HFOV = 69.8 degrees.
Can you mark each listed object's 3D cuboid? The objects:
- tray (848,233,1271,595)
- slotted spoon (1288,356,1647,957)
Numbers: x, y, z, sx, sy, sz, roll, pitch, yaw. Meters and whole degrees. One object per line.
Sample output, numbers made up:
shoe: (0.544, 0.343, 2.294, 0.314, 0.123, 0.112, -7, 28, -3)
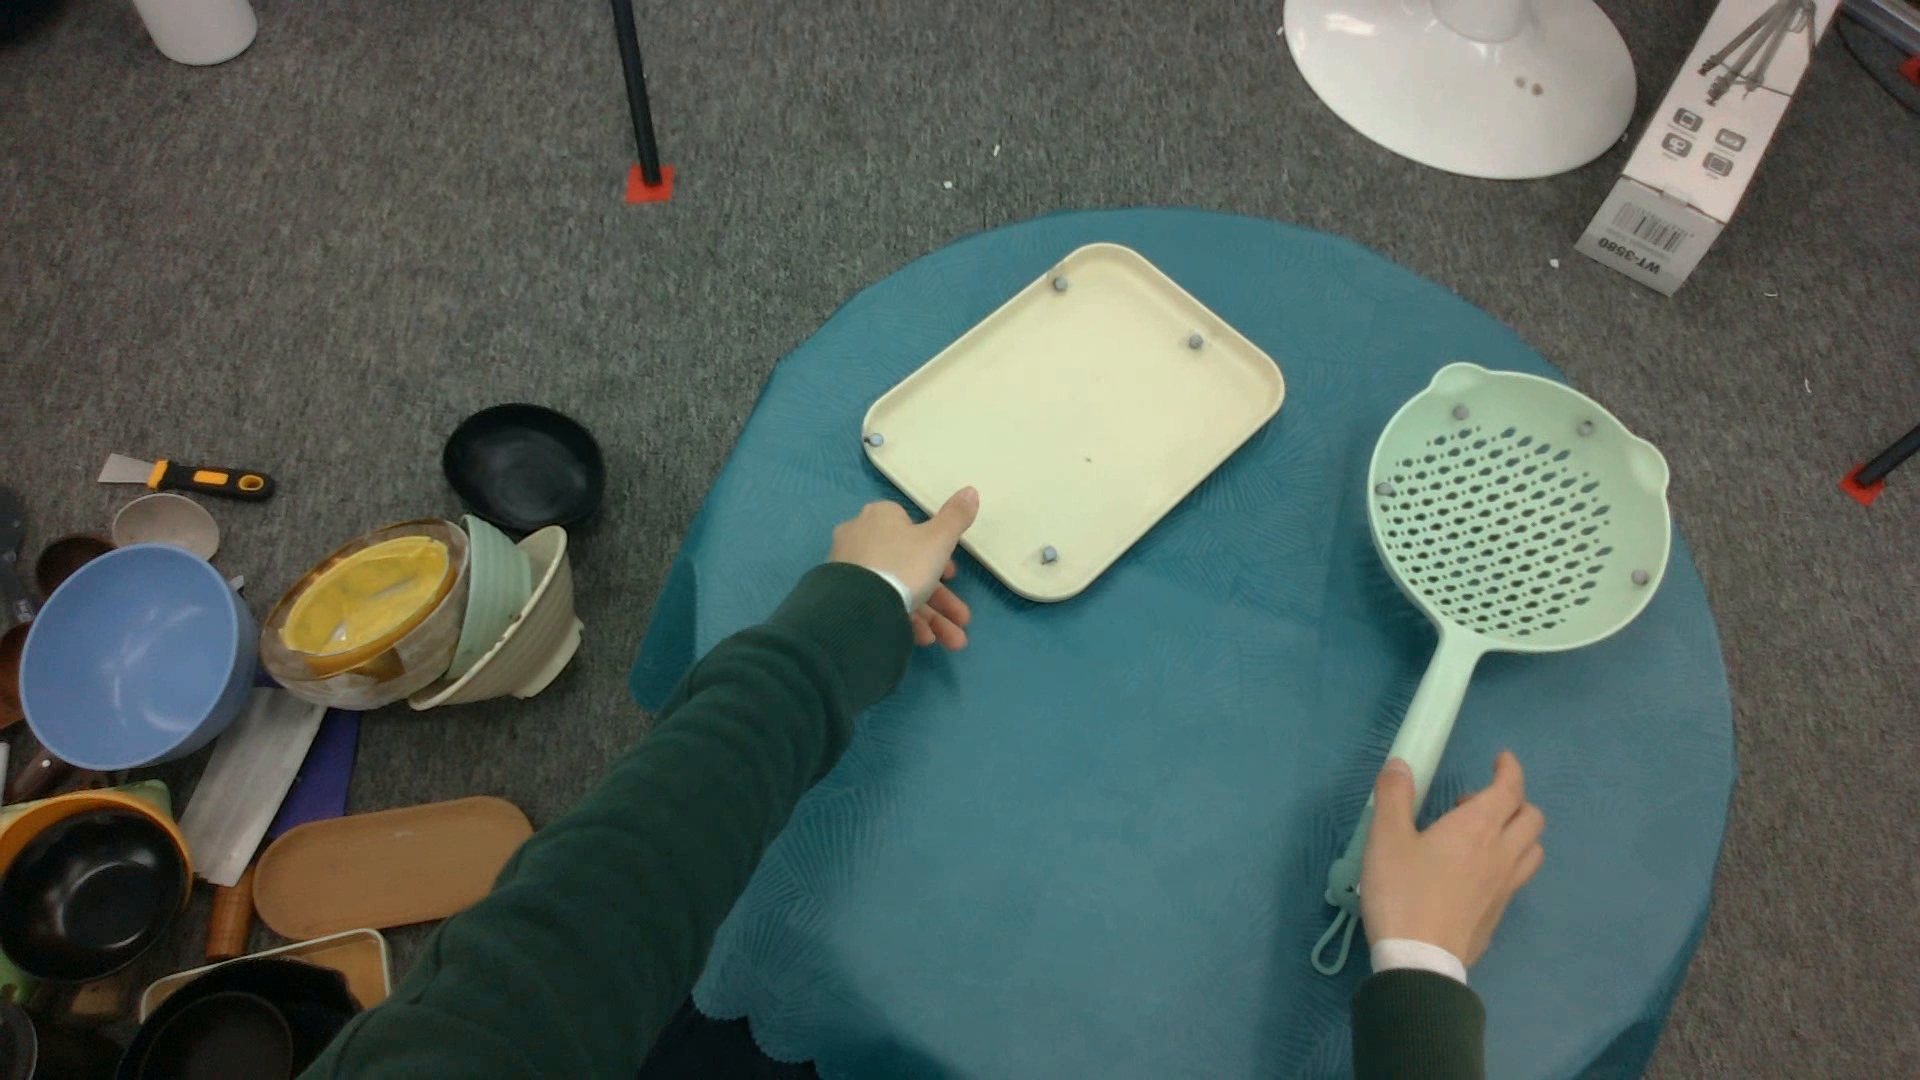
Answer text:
tray: (0.063, -0.082, 0.837, 0.171, 0.017, 0.240, 42, 65, 16)
slotted spoon: (0.259, 0.060, 0.756, 0.169, 0.075, 0.360, 27, 61, 9)
